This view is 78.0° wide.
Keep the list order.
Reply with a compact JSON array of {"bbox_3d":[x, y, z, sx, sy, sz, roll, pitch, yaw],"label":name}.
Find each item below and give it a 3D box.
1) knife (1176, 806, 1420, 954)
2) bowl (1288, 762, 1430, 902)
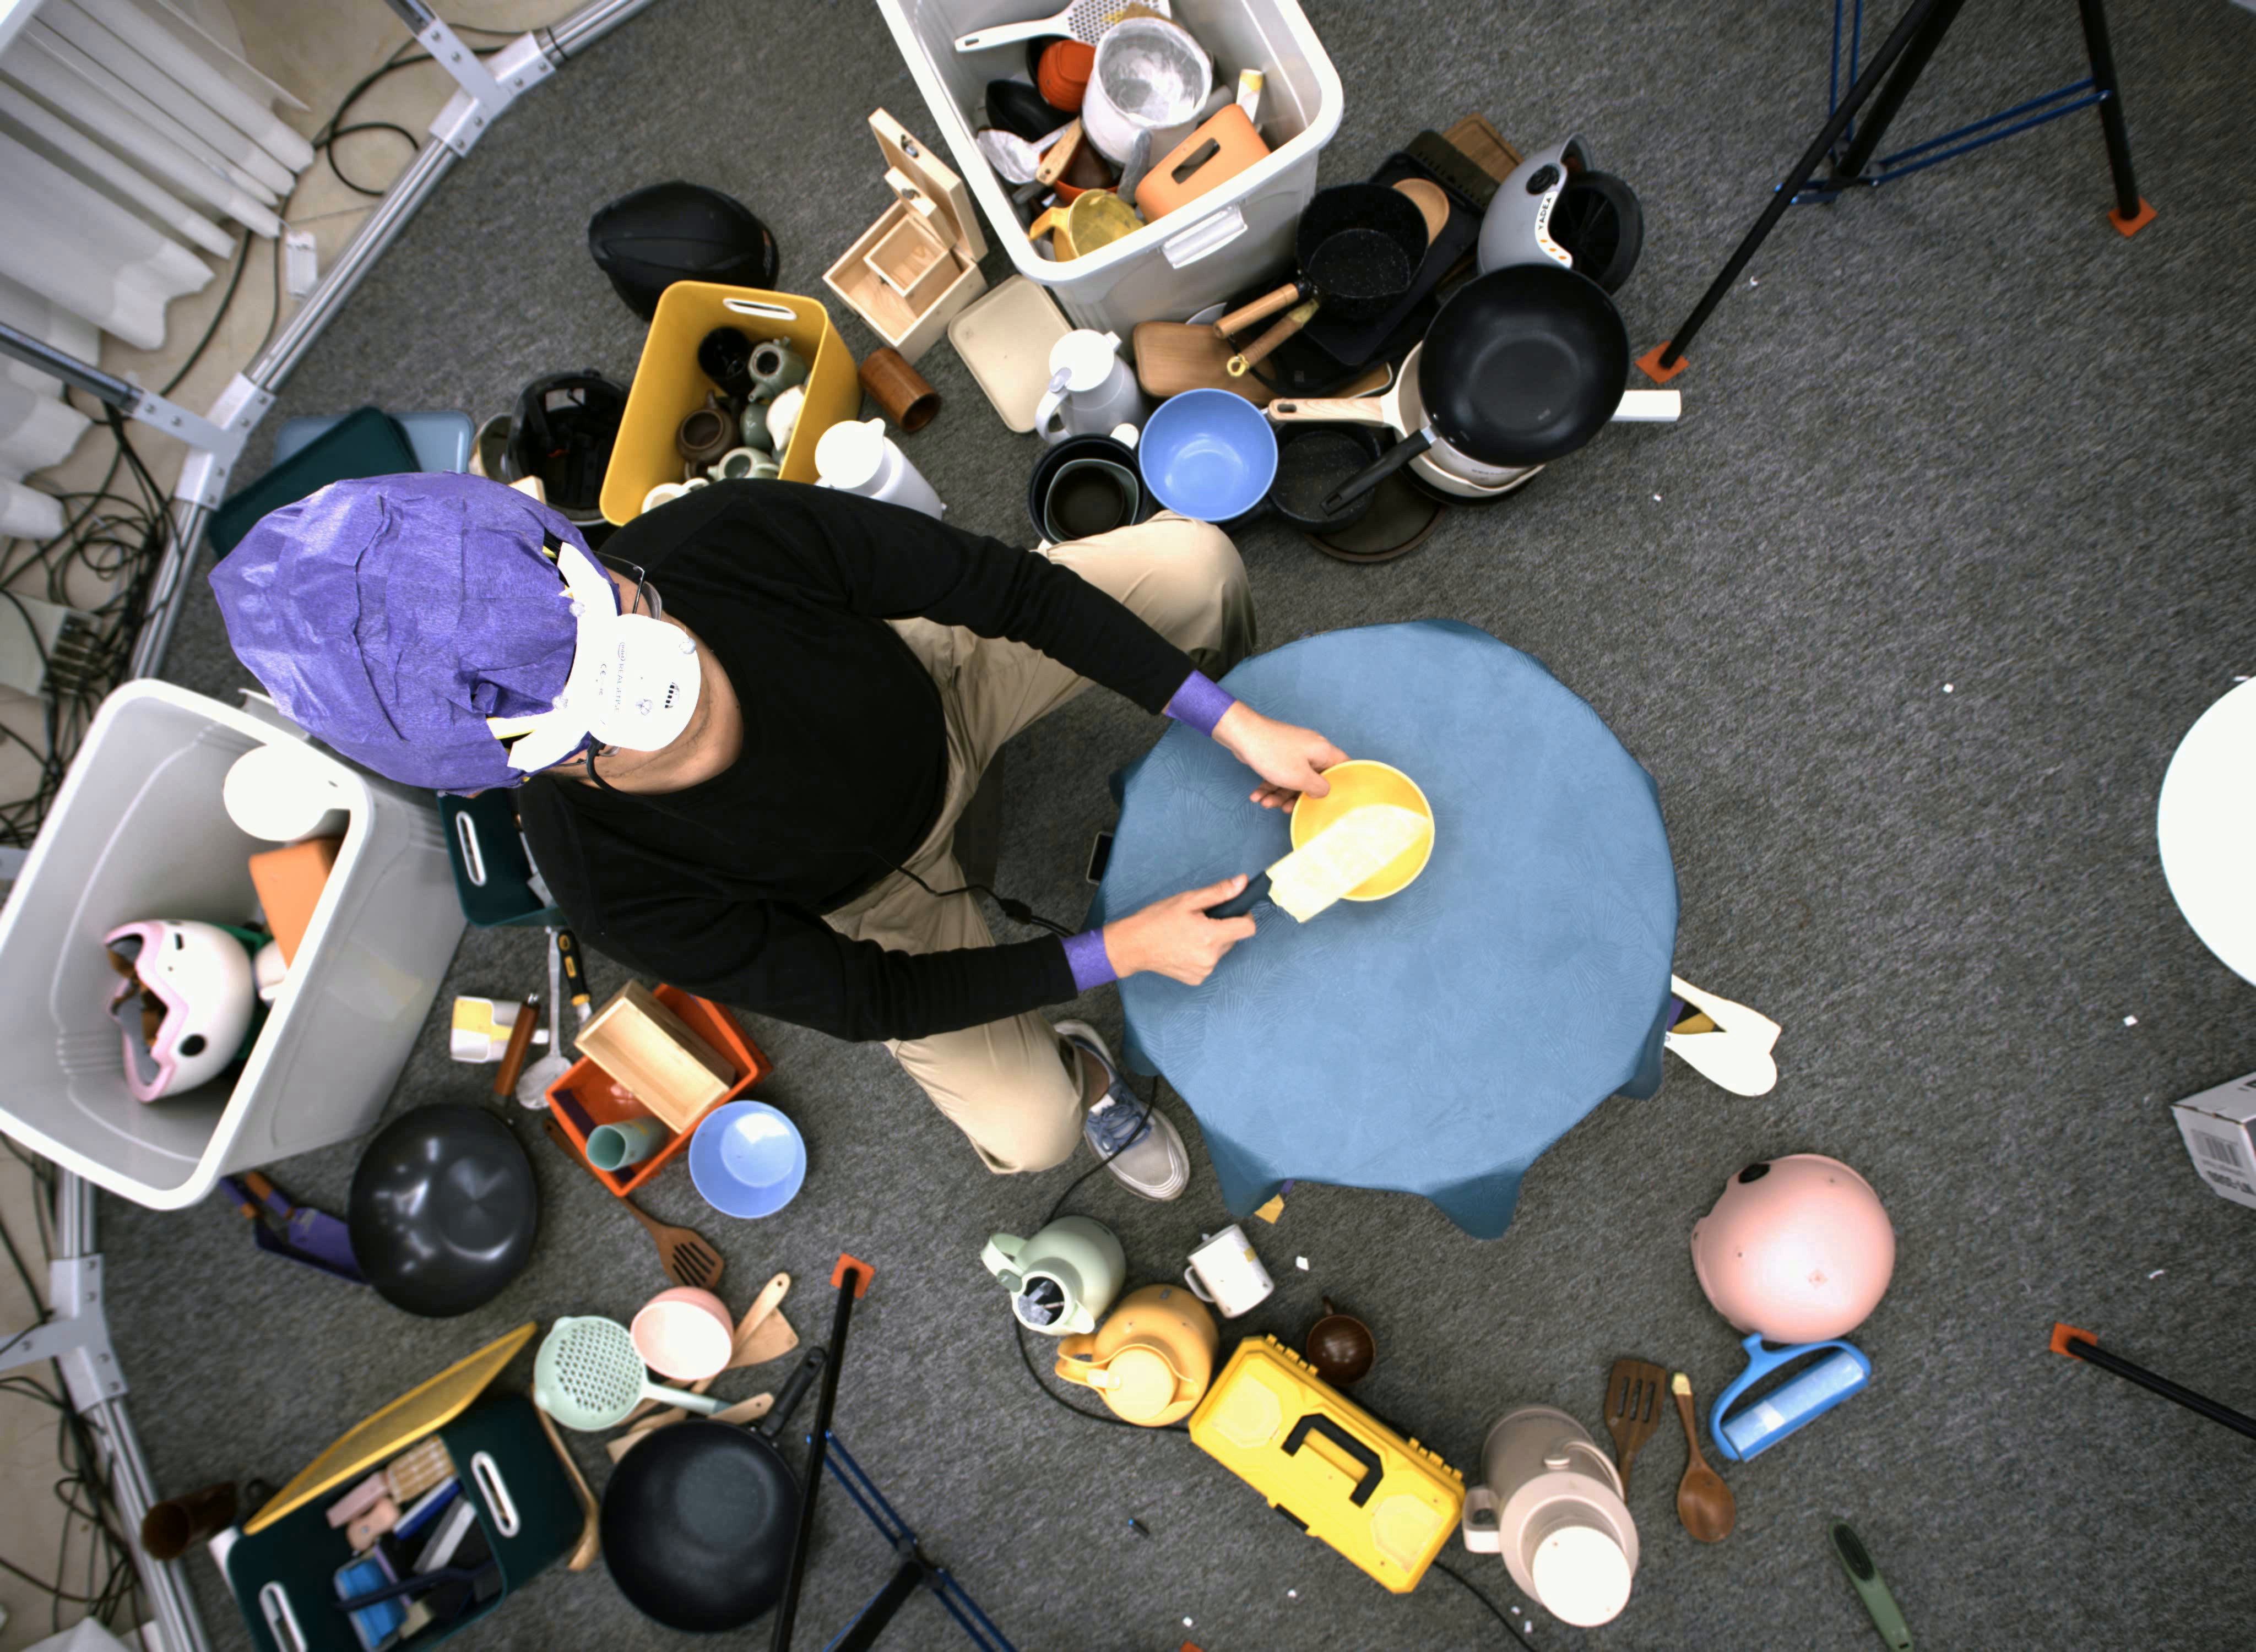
[{"bbox_3d":[0.168,0.061,1.385,0.294,0.026,0.082,-33,114,27],"label":"knife"},{"bbox_3d":[0.237,0.010,1.428,0.146,0.060,0.144,-1,81,5],"label":"bowl"}]
